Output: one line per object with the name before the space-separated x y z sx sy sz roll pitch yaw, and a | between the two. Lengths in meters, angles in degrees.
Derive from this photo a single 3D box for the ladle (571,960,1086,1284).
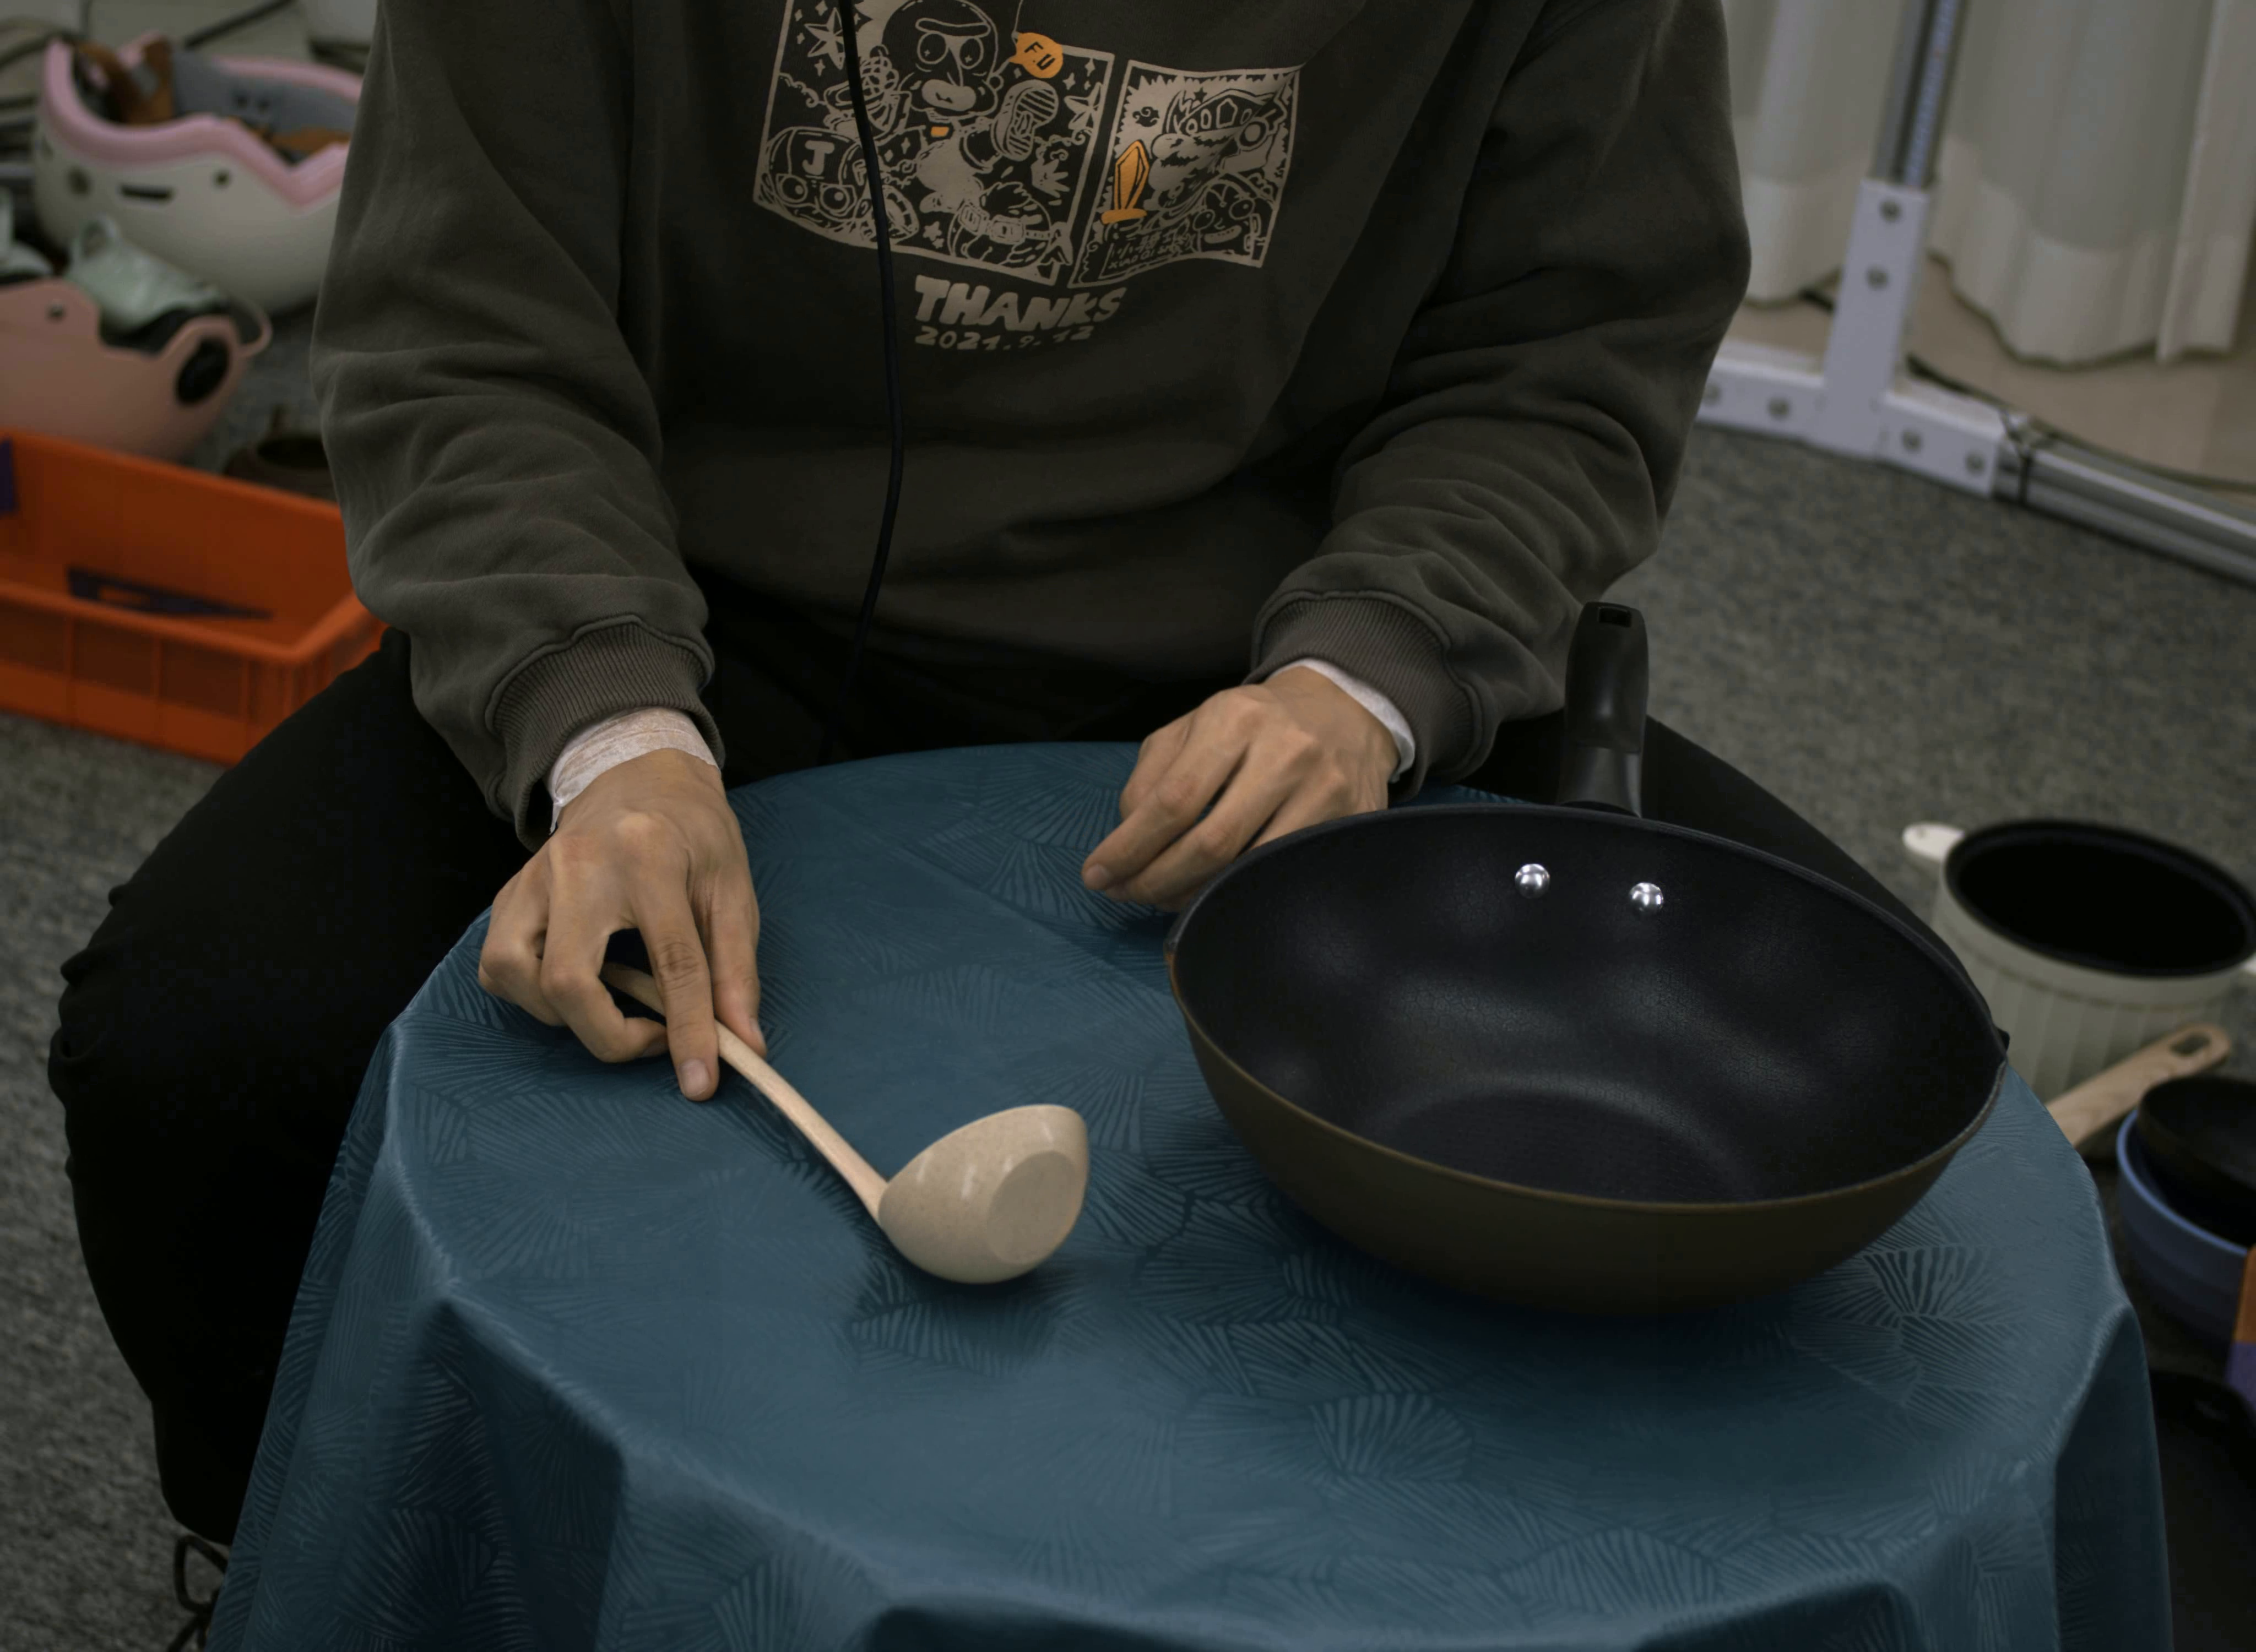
ladle | -0.108 0.072 1.797 0.071 0.073 0.256 -2 27 -41

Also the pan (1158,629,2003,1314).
pan | 0.158 0.051 1.892 0.287 0.086 0.465 8 25 4
